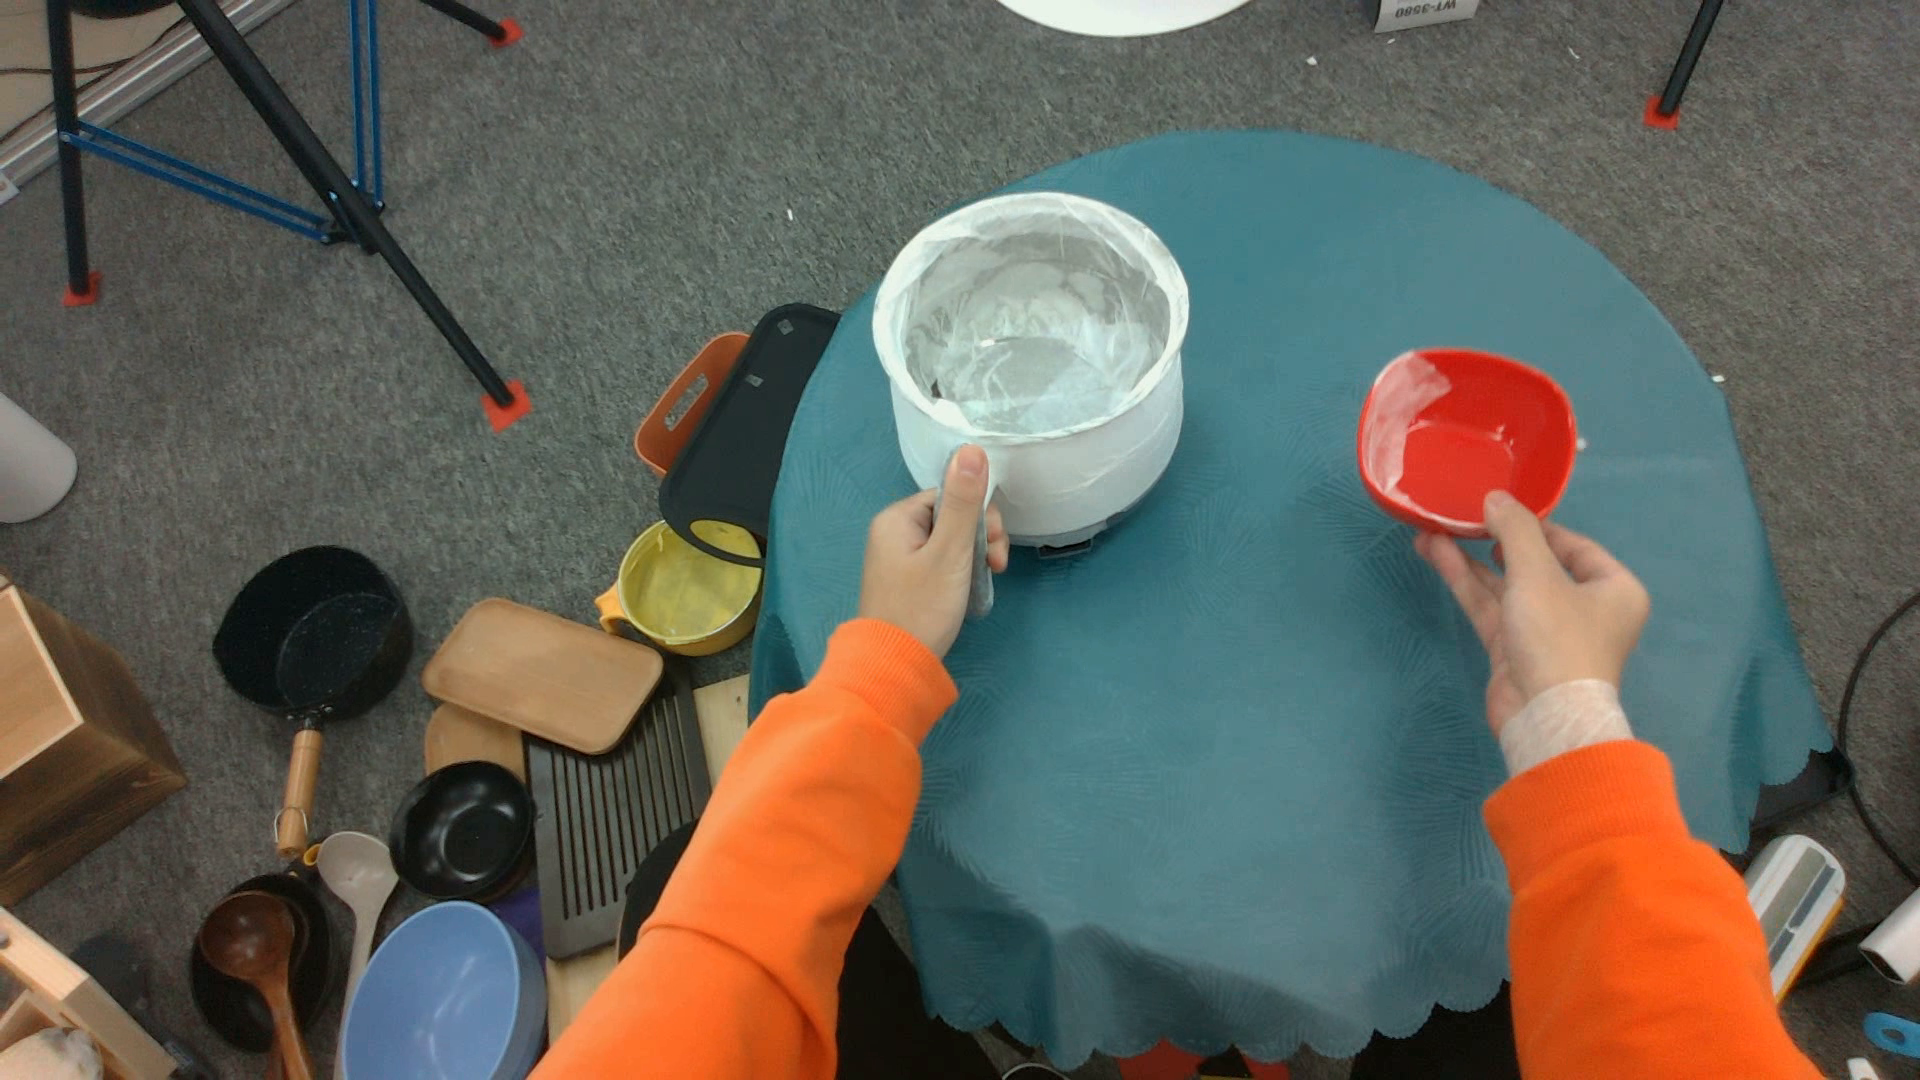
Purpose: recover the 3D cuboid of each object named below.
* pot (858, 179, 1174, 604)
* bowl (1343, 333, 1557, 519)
[{"bbox_3d":[0.028,-0.082,0.809,0.178,0.136,0.235,13,62,14],"label":"pot"},{"bbox_3d":[0.266,-0.055,0.763,0.119,0.051,0.119,-2,61,5],"label":"bowl"}]
